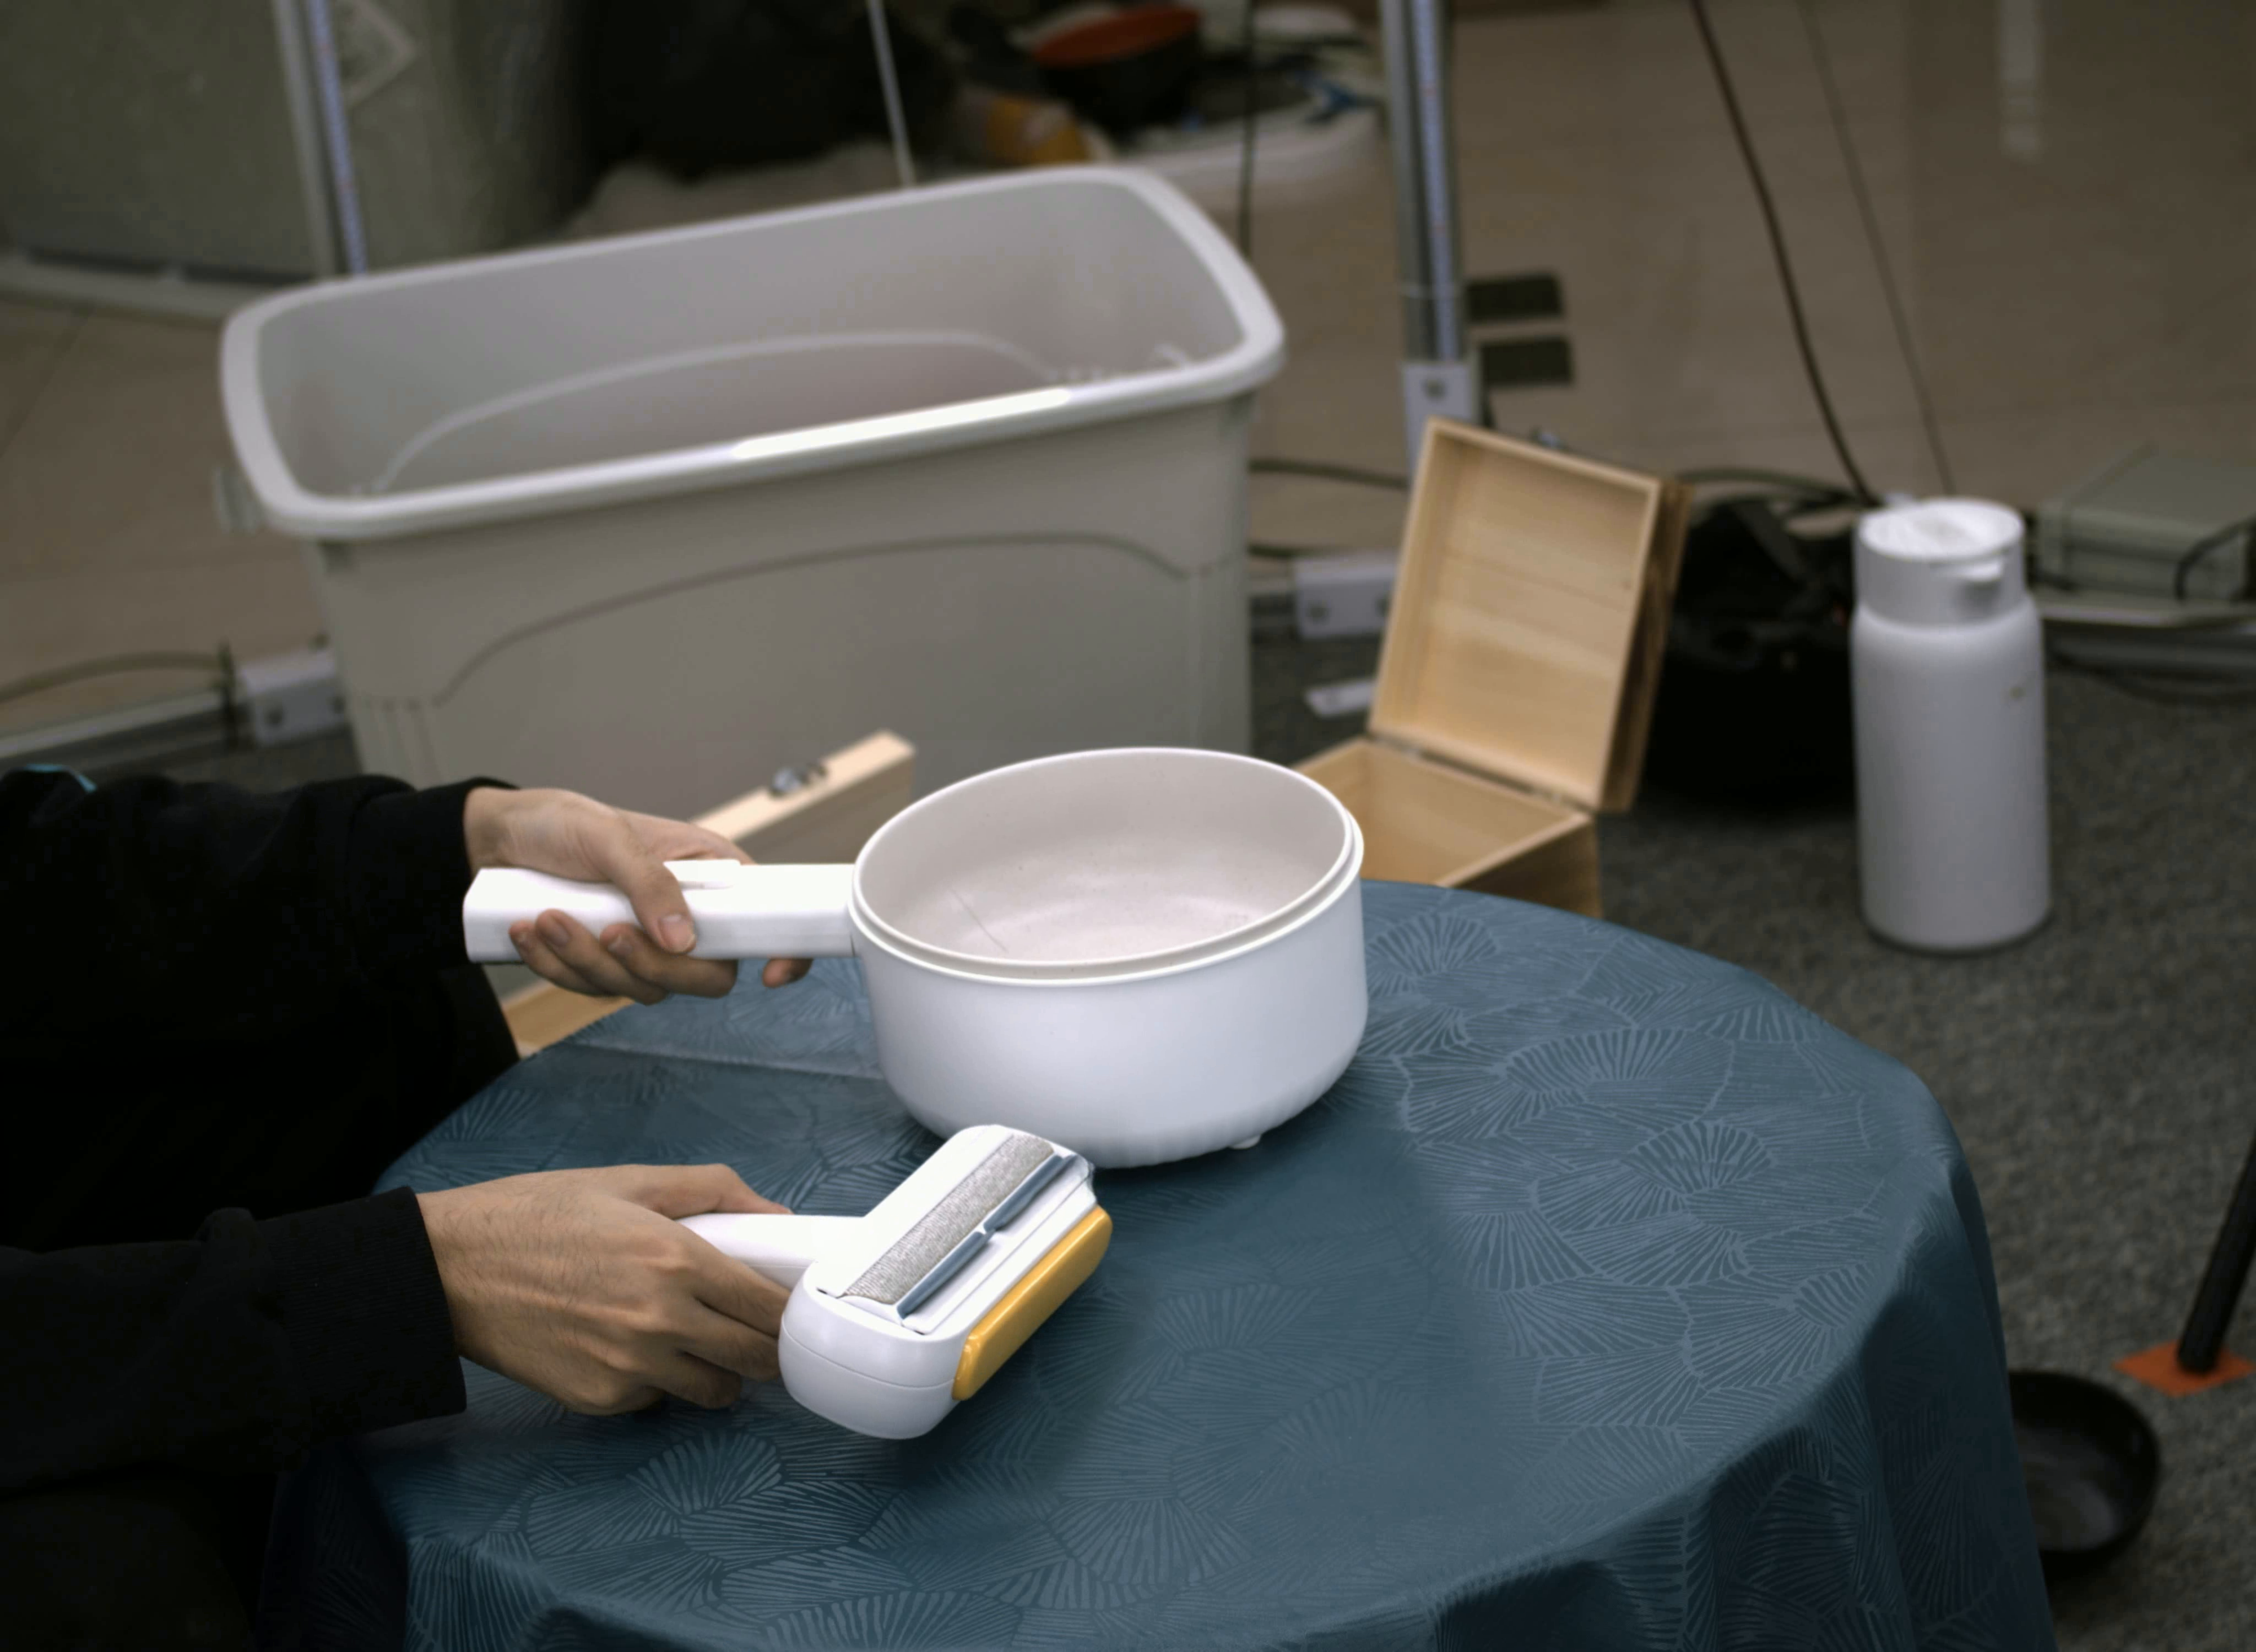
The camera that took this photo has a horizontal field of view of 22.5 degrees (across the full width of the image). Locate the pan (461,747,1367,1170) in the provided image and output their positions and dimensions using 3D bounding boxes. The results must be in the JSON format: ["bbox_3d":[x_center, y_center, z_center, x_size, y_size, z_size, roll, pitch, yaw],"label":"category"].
[{"bbox_3d":[-0.081,0.058,2.214,0.354,0.104,0.198,-2,26,10],"label":"pan"}]

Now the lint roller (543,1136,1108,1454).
[{"bbox_3d":[-0.122,0.156,2.034,0.191,0.075,0.191,15,26,20],"label":"lint roller"}]
